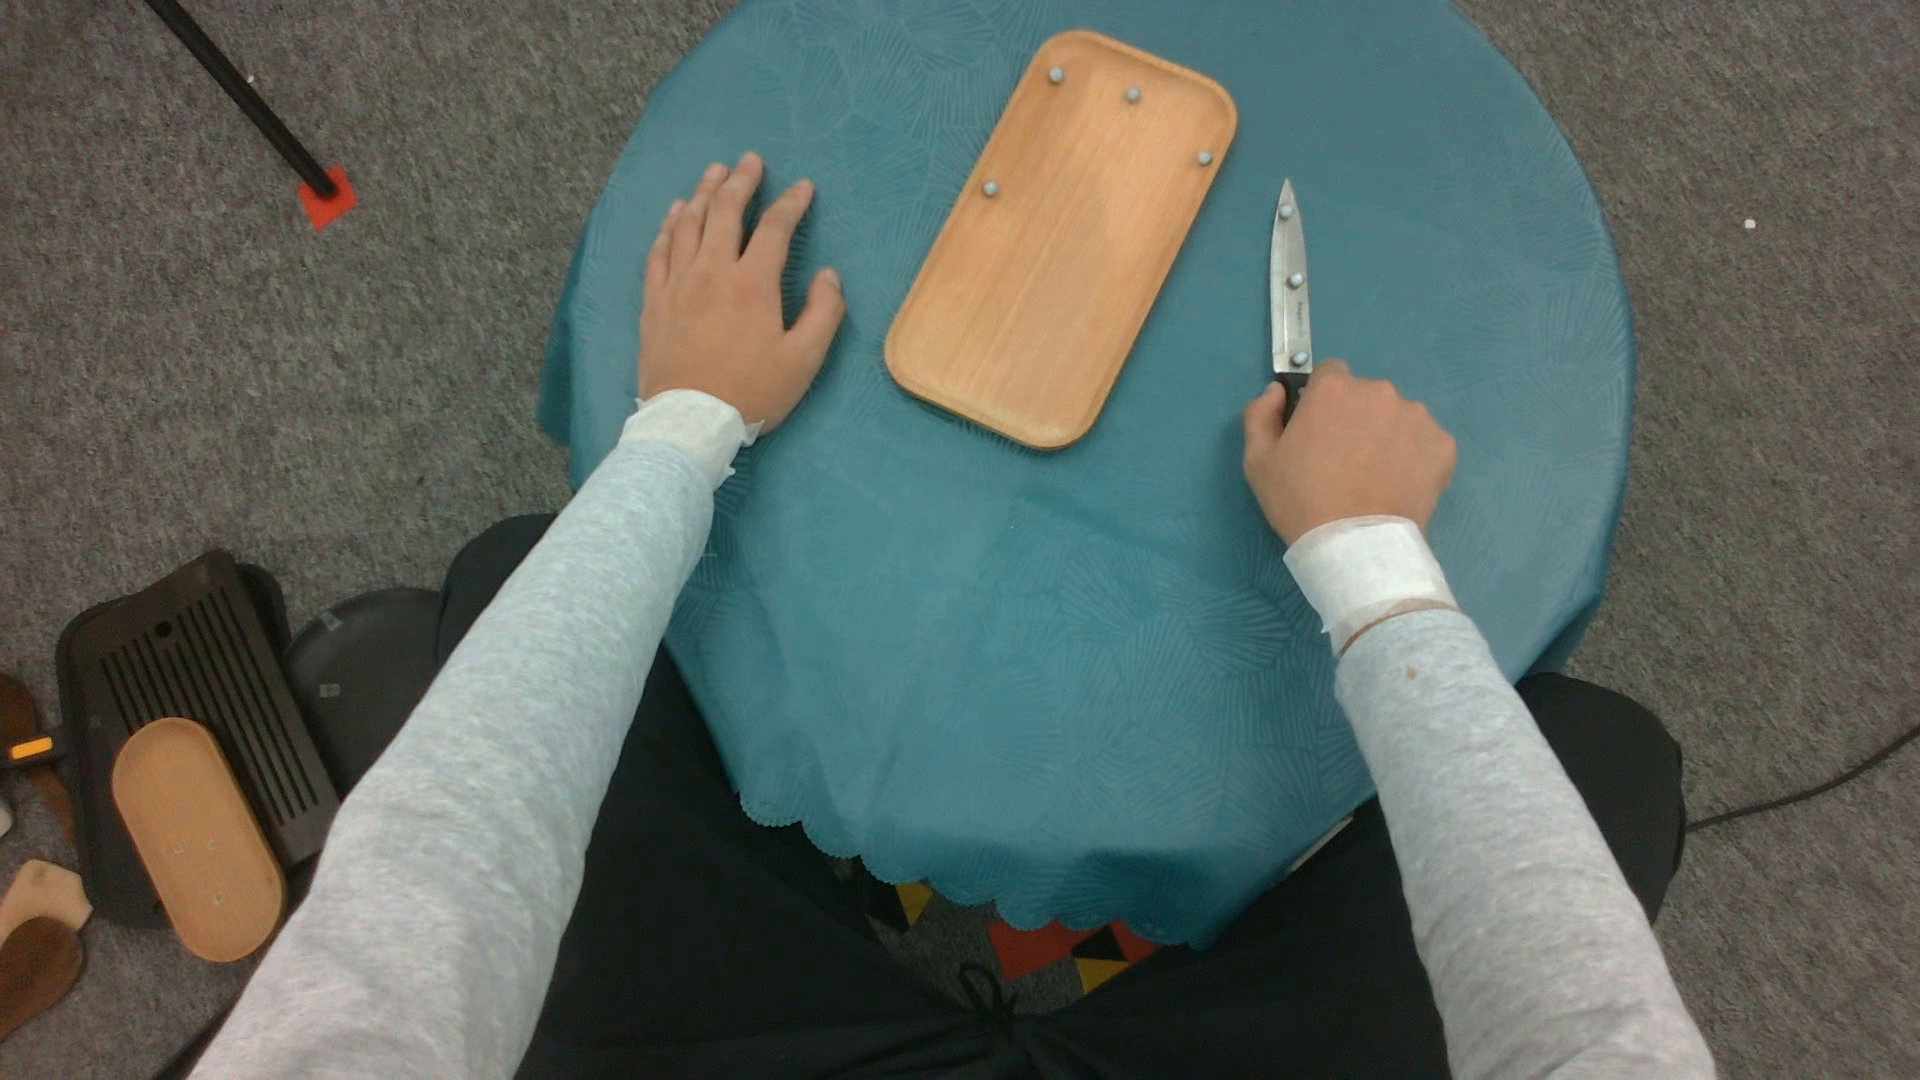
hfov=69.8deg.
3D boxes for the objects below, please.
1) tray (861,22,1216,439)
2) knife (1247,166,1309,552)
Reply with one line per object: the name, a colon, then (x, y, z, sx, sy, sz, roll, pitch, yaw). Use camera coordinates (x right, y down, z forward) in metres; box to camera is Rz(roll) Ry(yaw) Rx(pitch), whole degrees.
tray: (0.048, -0.180, 0.787, 0.130, 0.023, 0.251, 25, 76, 10)
knife: (0.177, -0.107, 0.768, 0.024, 0.016, 0.239, 1, 71, -2)
